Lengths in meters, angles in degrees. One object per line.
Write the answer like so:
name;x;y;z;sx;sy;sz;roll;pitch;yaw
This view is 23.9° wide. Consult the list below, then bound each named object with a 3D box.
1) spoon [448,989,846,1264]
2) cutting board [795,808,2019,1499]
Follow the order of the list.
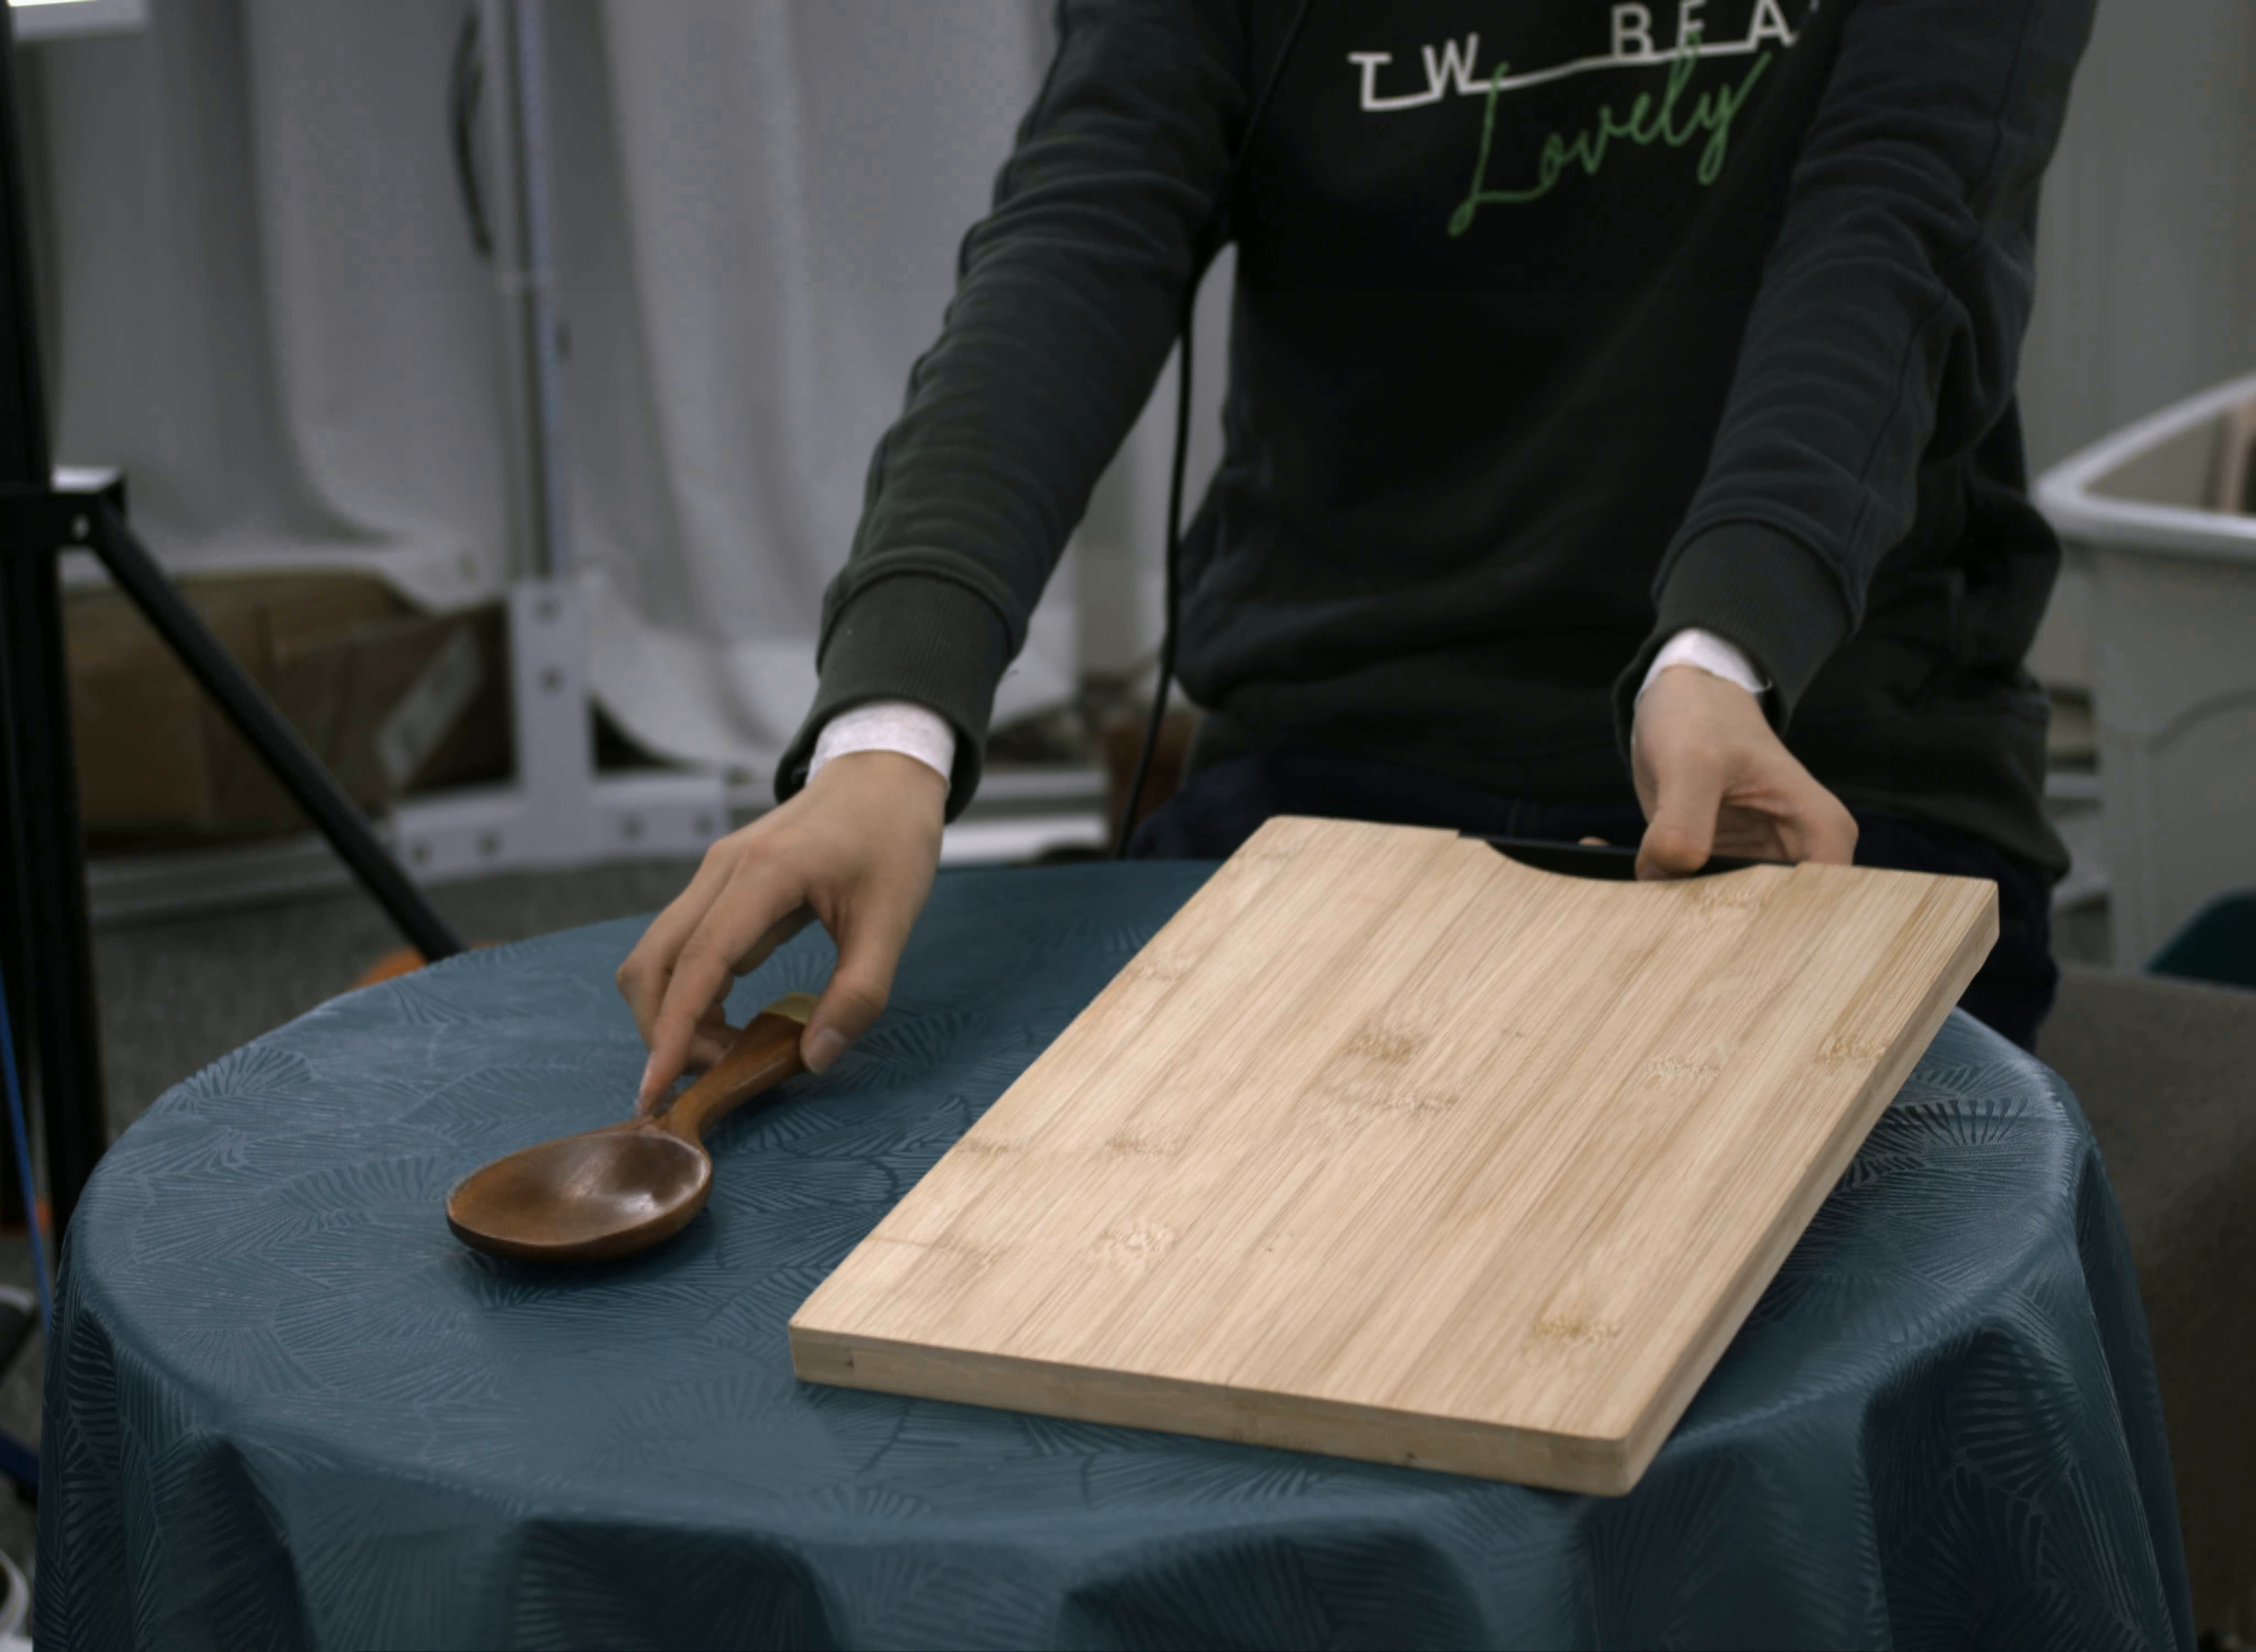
spoon;-0.134;0.091;1.599;0.076;0.017;0.213;1;18;21
cutting board;0.089;0.082;1.512;0.254;0.023;0.345;5;26;24
